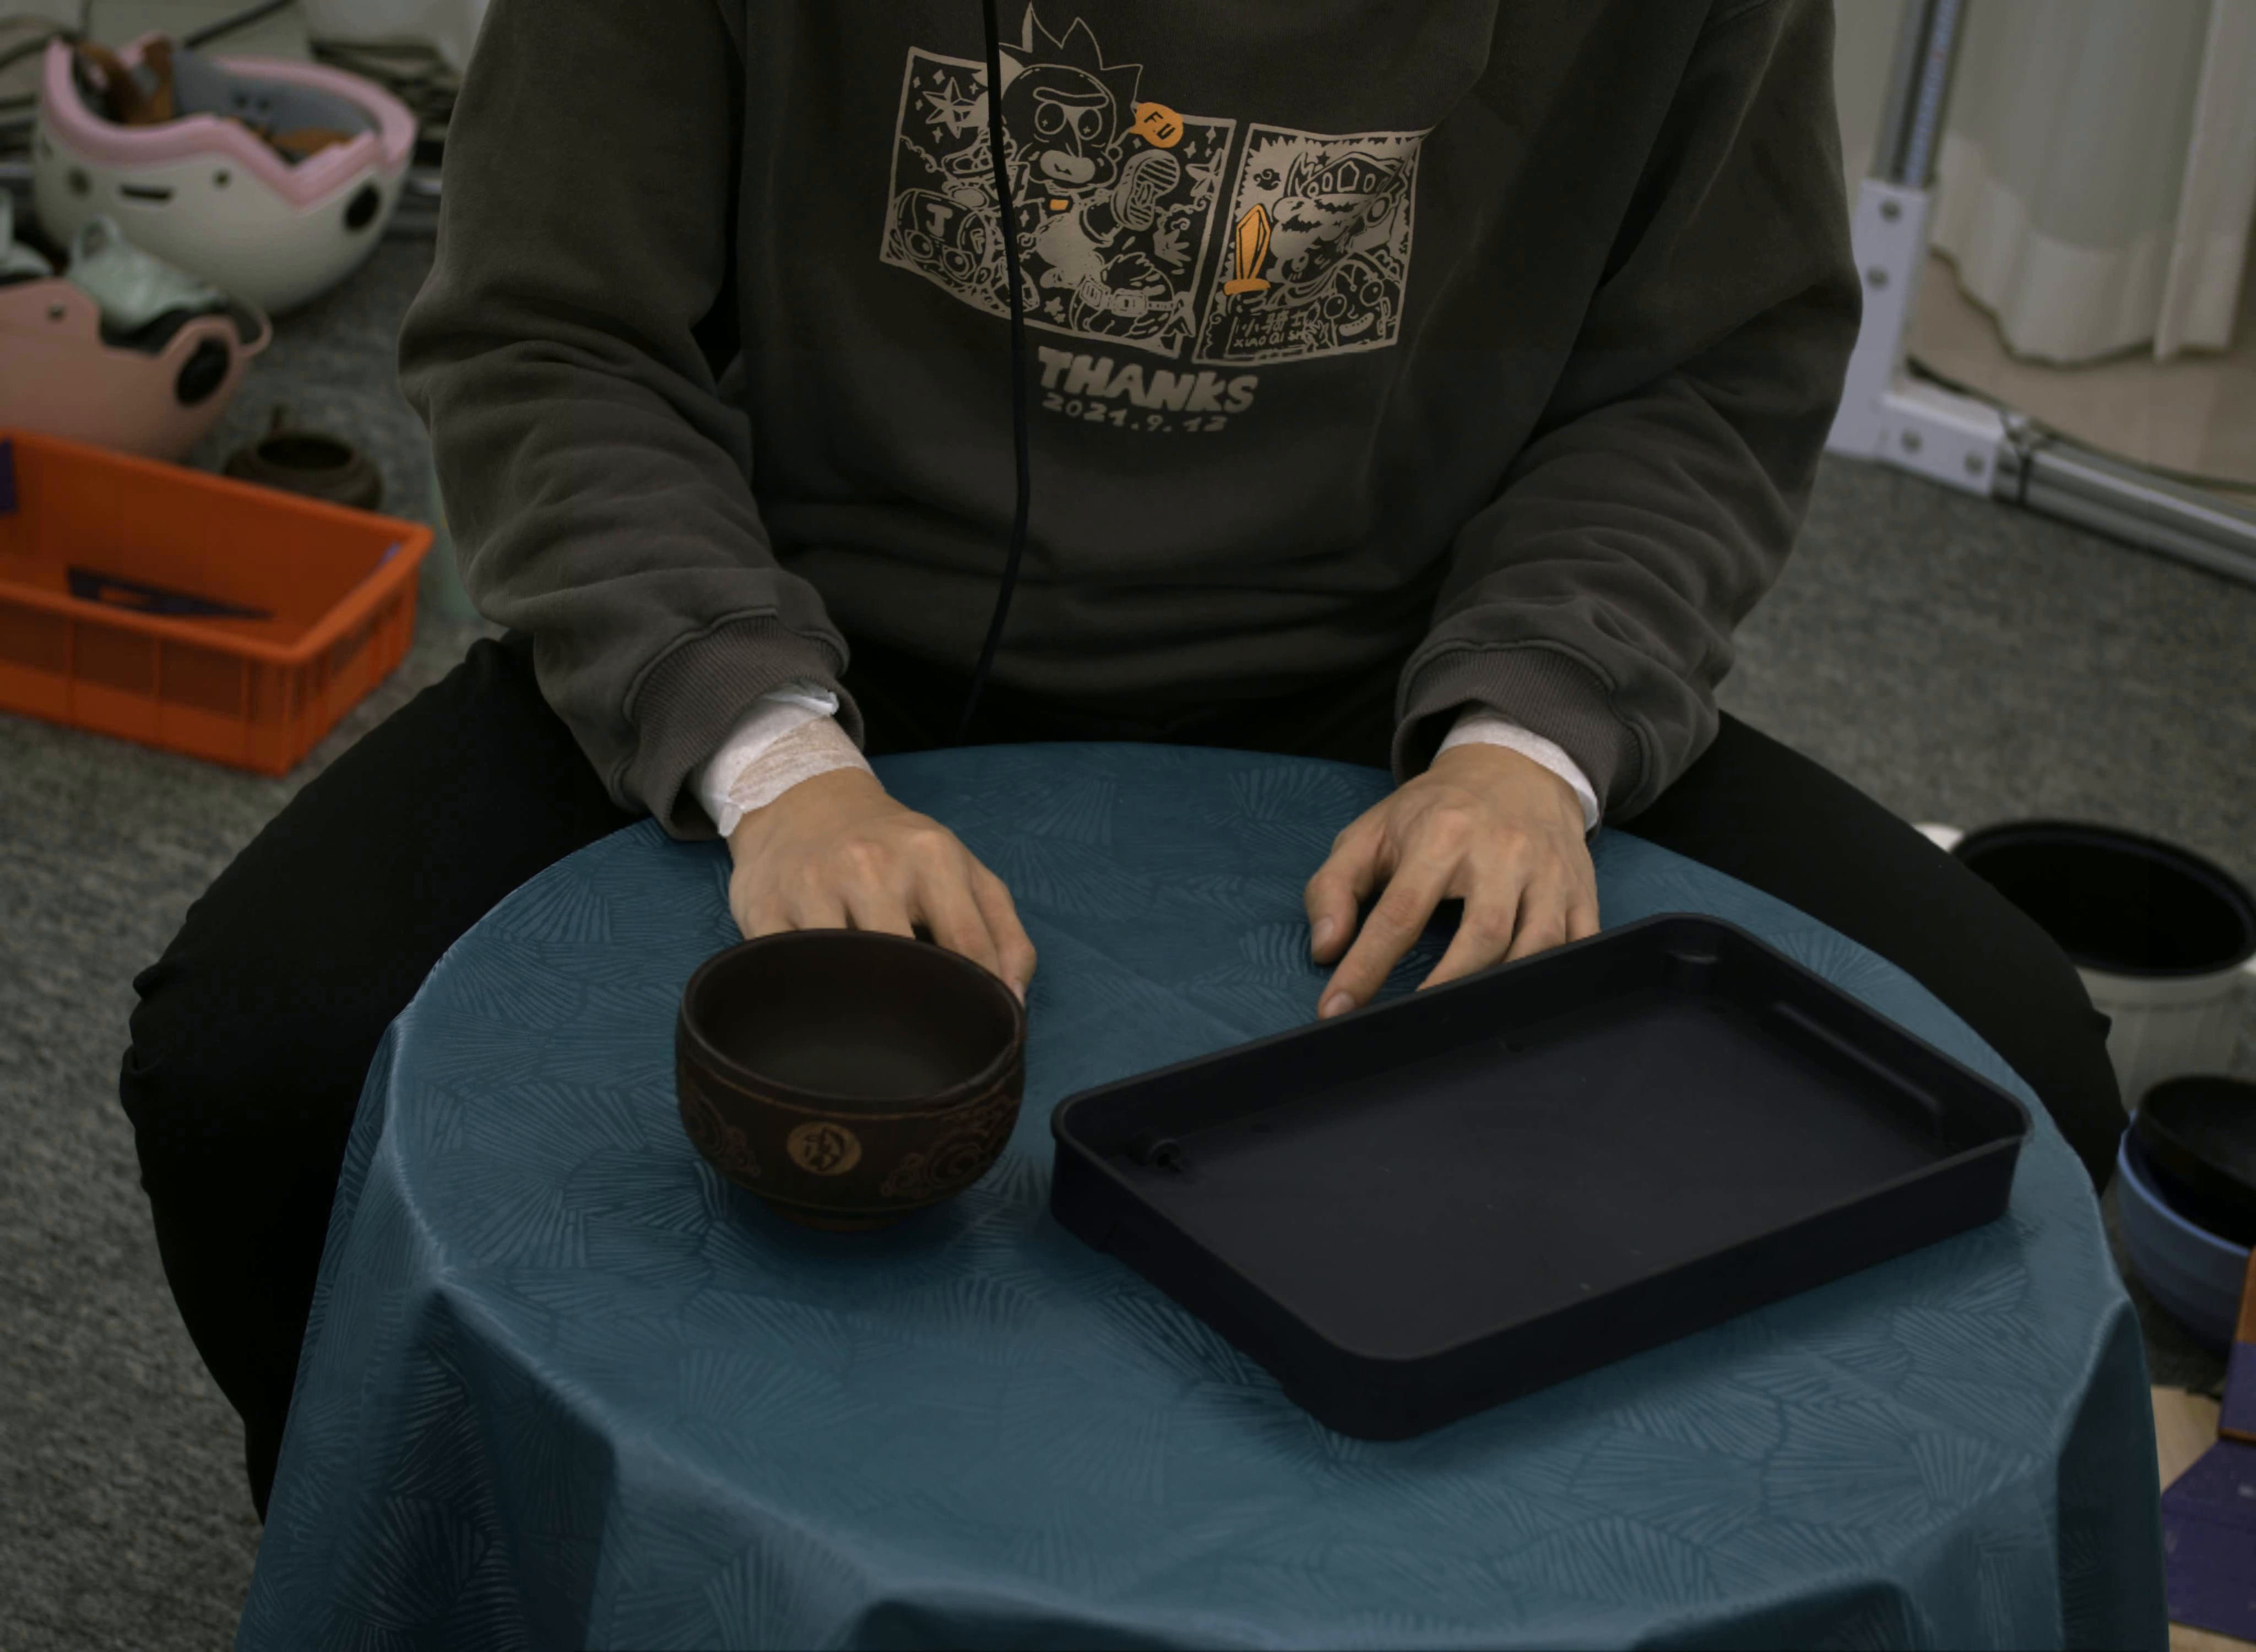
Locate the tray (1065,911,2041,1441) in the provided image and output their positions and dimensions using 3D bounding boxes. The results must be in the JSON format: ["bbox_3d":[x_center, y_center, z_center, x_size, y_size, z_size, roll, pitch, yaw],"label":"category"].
[{"bbox_3d":[0.146,0.113,1.818,0.316,0.037,0.186,-16,34,-37],"label":"tray"}]

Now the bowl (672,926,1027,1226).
[{"bbox_3d":[-0.094,0.090,1.770,0.117,0.069,0.118,5,25,-3],"label":"bowl"}]
